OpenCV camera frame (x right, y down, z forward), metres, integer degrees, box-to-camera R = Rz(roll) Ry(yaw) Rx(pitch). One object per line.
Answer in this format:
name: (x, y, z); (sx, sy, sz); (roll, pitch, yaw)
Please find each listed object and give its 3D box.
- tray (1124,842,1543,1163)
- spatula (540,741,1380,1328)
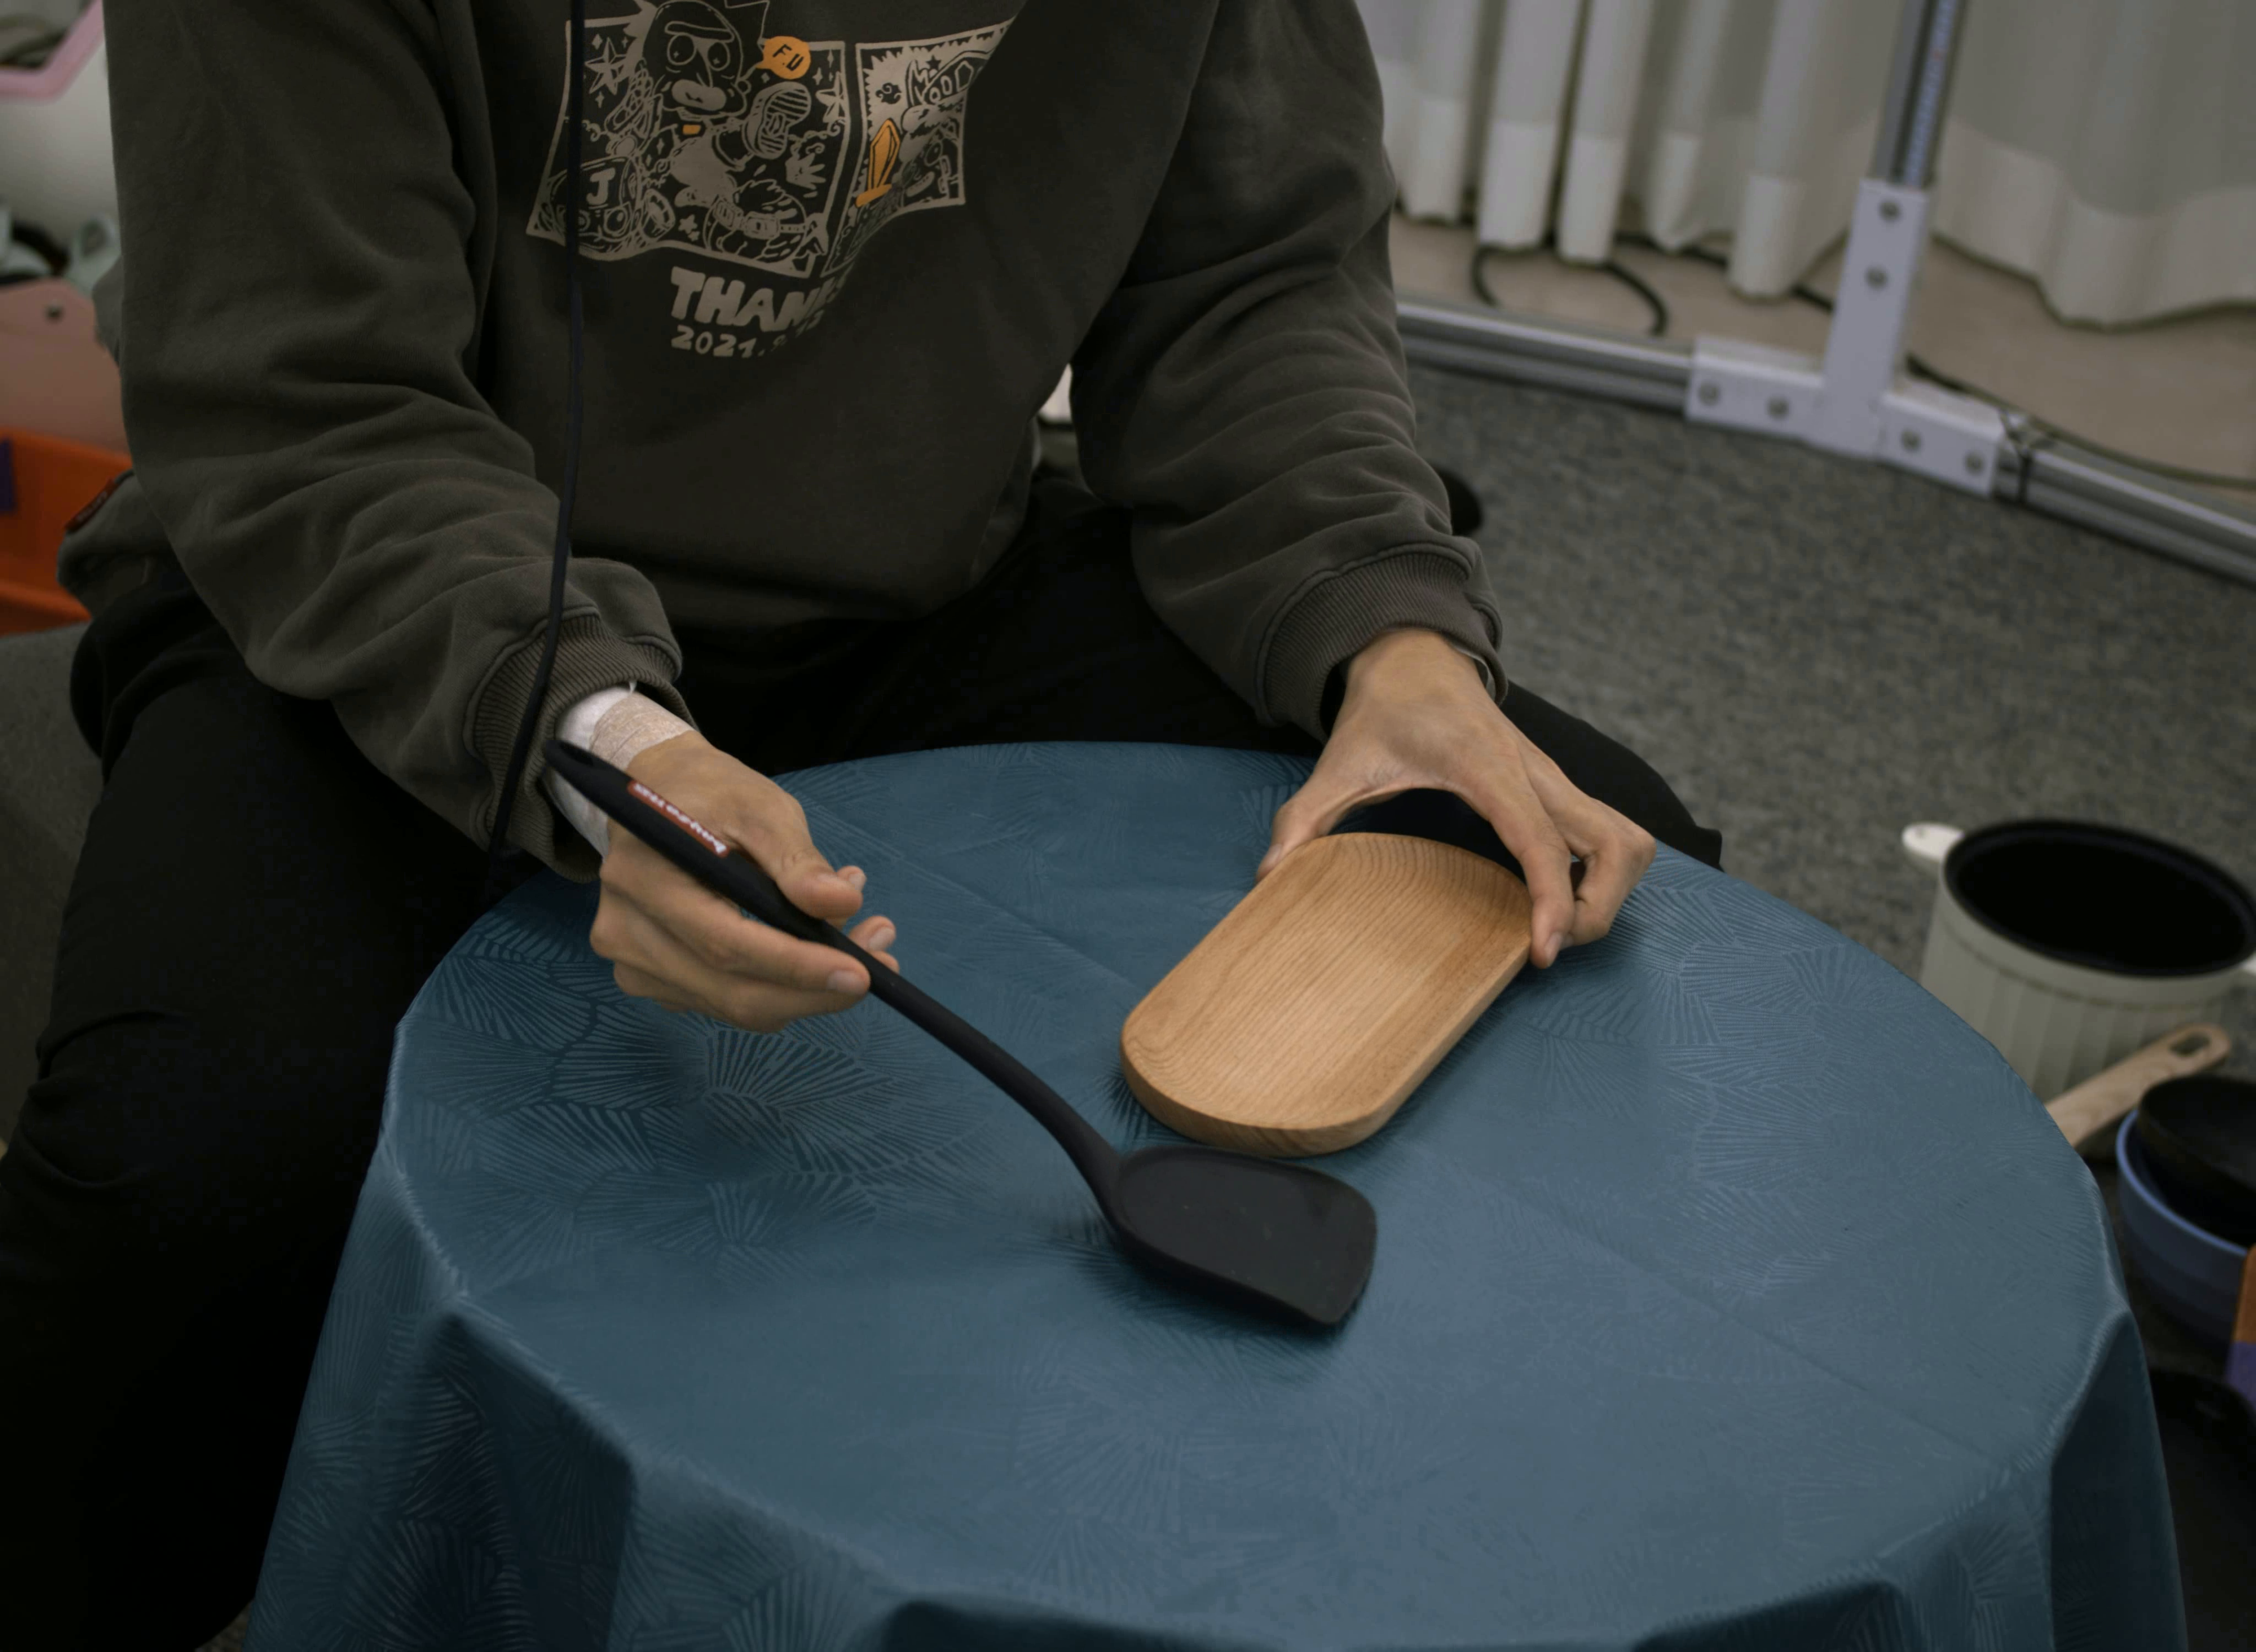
tray: (0.076, 0.062, 1.922); (0.102, 0.020, 0.231); (17, 31, 19)
spatula: (-0.058, 0.063, 1.771); (0.325, 0.040, 0.100); (38, 24, -3)
